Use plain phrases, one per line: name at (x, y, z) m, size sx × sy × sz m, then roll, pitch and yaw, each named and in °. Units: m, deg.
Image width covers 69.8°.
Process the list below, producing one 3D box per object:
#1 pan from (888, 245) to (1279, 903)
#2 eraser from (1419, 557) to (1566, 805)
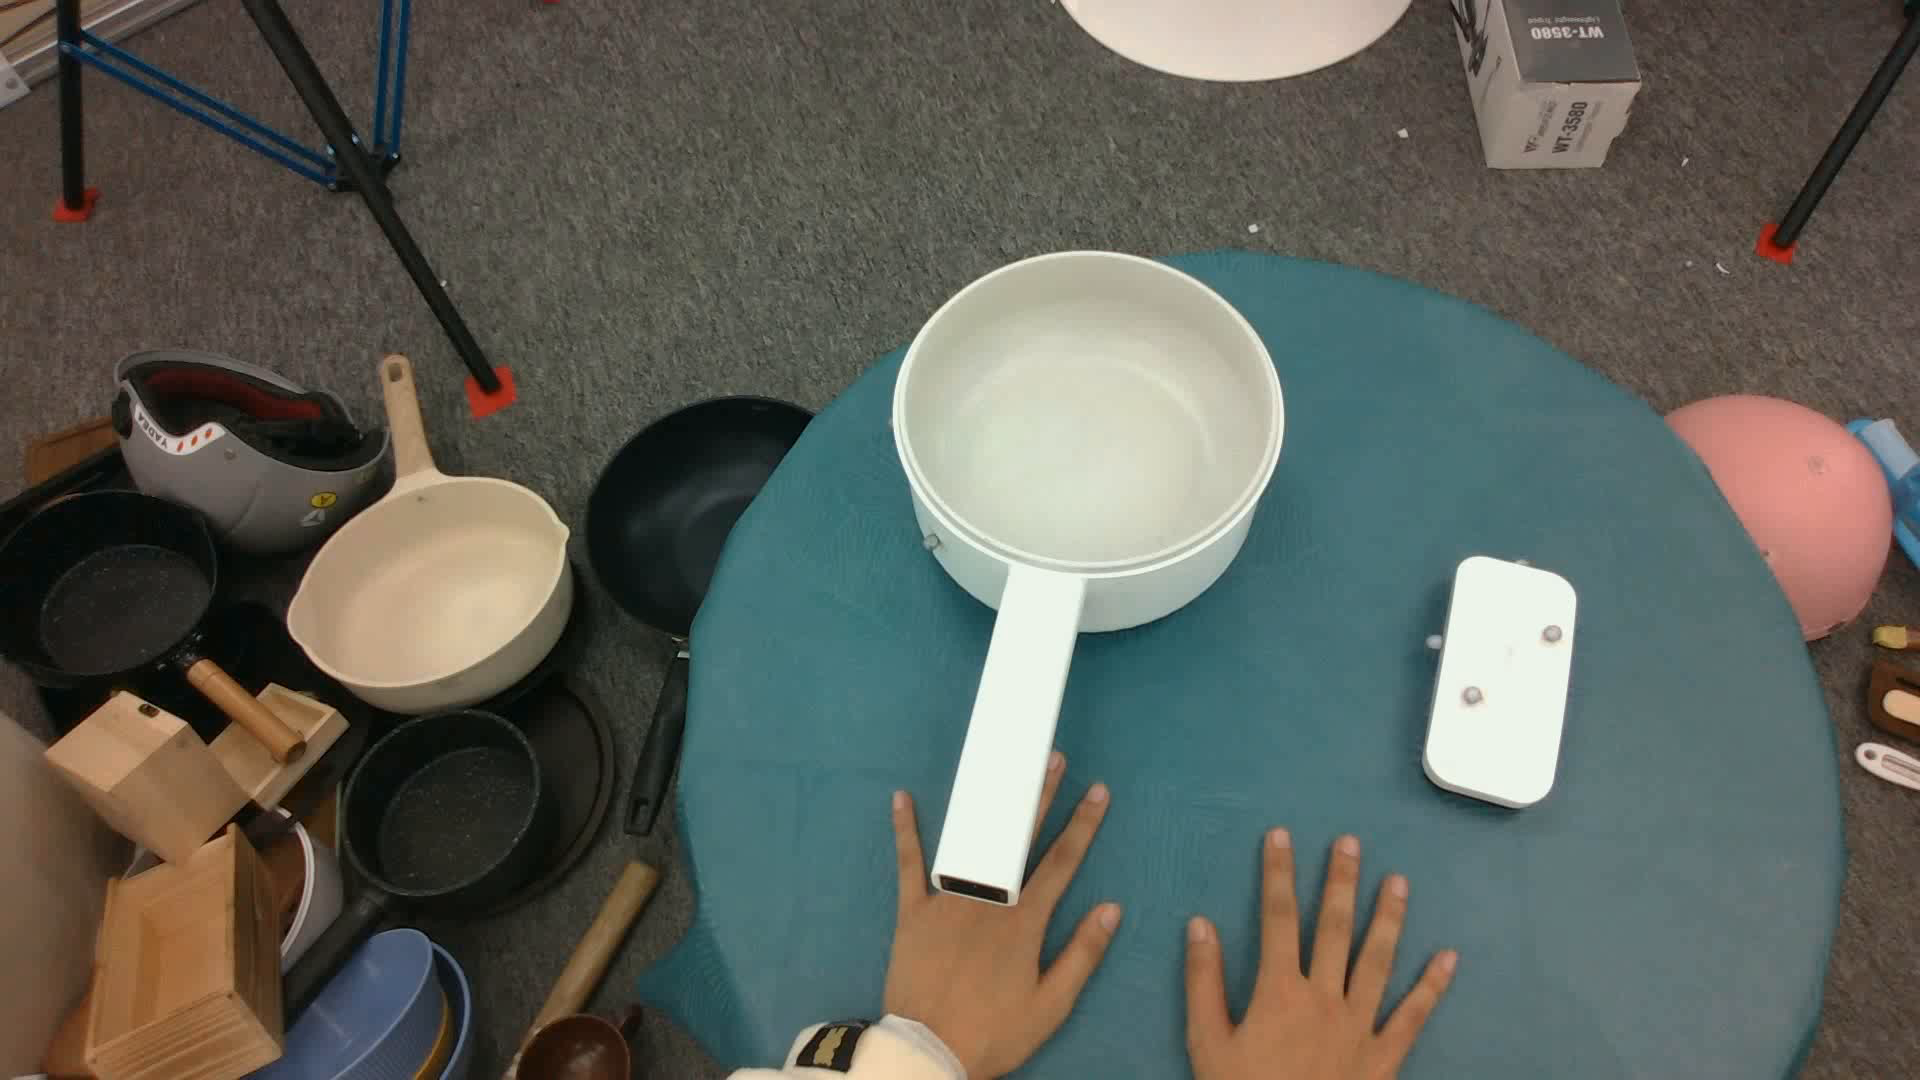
pan at (0.048, 0.015, 0.715) m, size 0.201 × 0.102 × 0.356 m, roll 10°, pitch 64°, yaw 9°
eraser at (0.274, 0.070, 0.713) m, size 0.063 × 0.034 × 0.132 m, roll 13°, pitch 62°, yaw 13°
